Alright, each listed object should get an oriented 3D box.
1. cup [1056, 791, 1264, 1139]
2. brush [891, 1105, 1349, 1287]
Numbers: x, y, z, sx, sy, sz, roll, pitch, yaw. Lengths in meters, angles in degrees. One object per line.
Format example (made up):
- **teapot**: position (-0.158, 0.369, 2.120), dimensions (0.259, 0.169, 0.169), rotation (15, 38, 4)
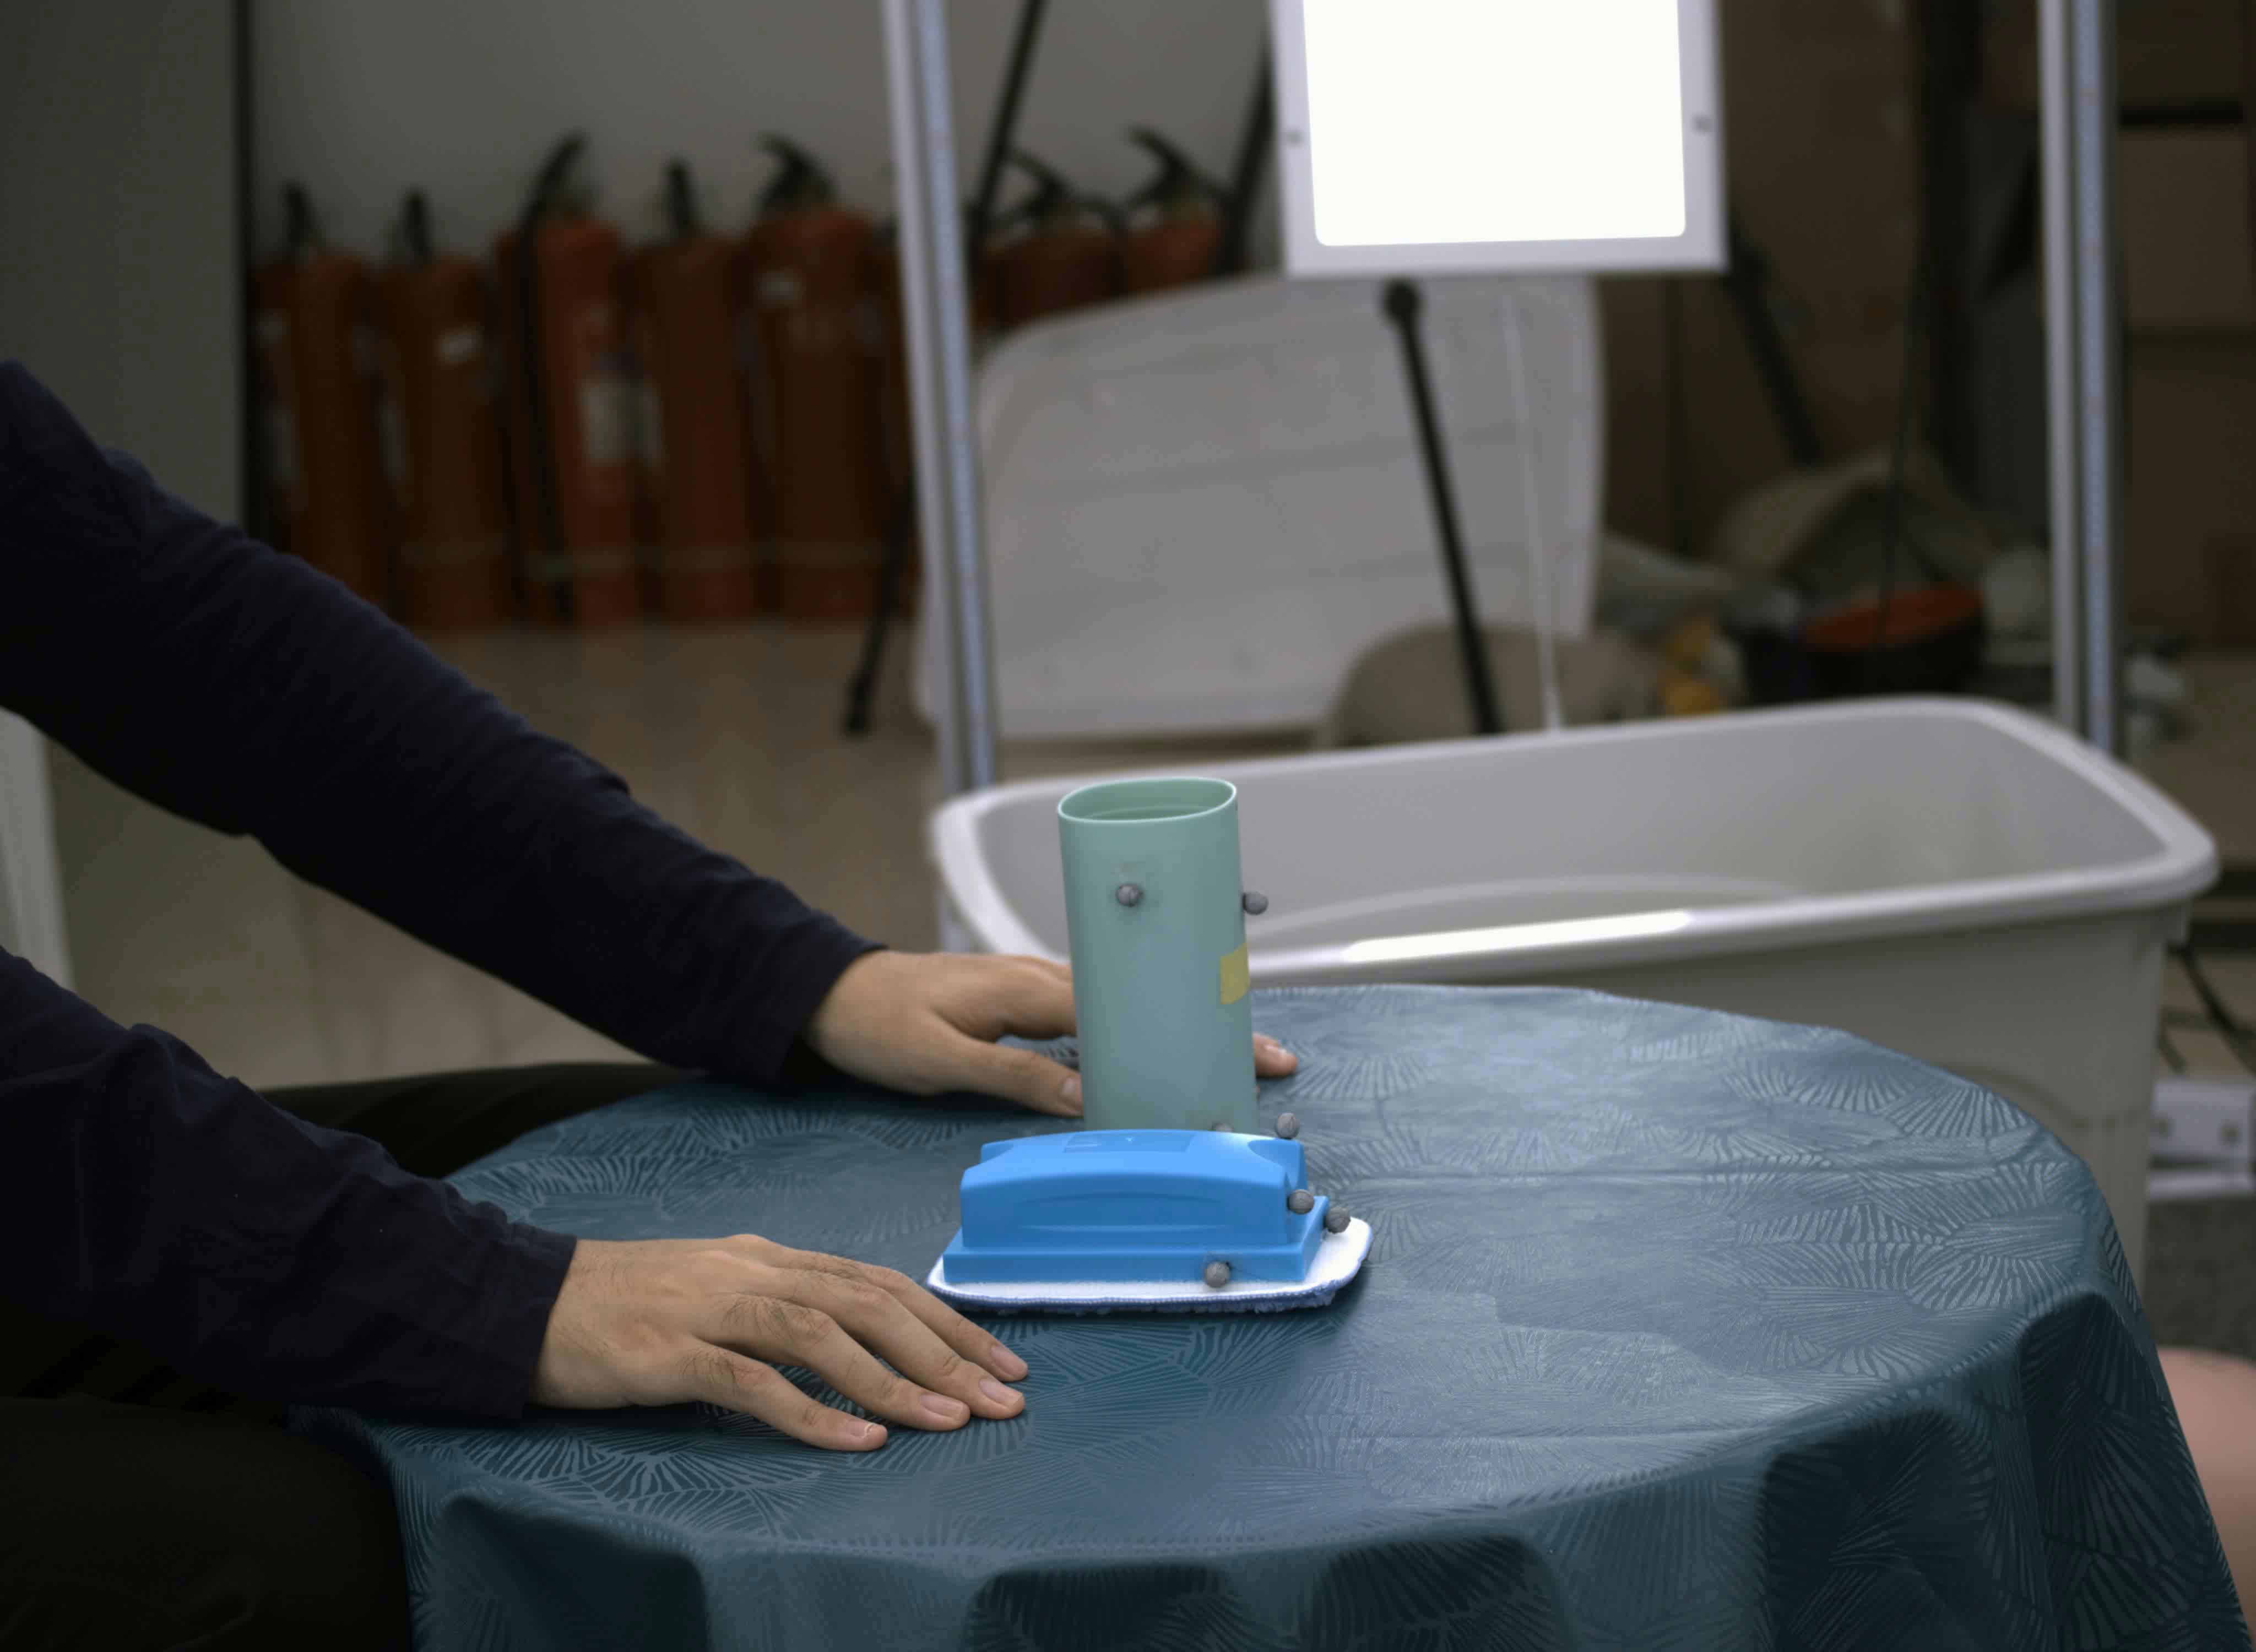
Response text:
- **cup**: position (0.011, 0.059, 1.920), dimensions (0.066, 0.133, 0.066), rotation (-6, 14, 0)
- **brush**: position (-0.002, 0.121, 1.795), dimensions (0.145, 0.056, 0.082), rotation (2, 12, 16)
